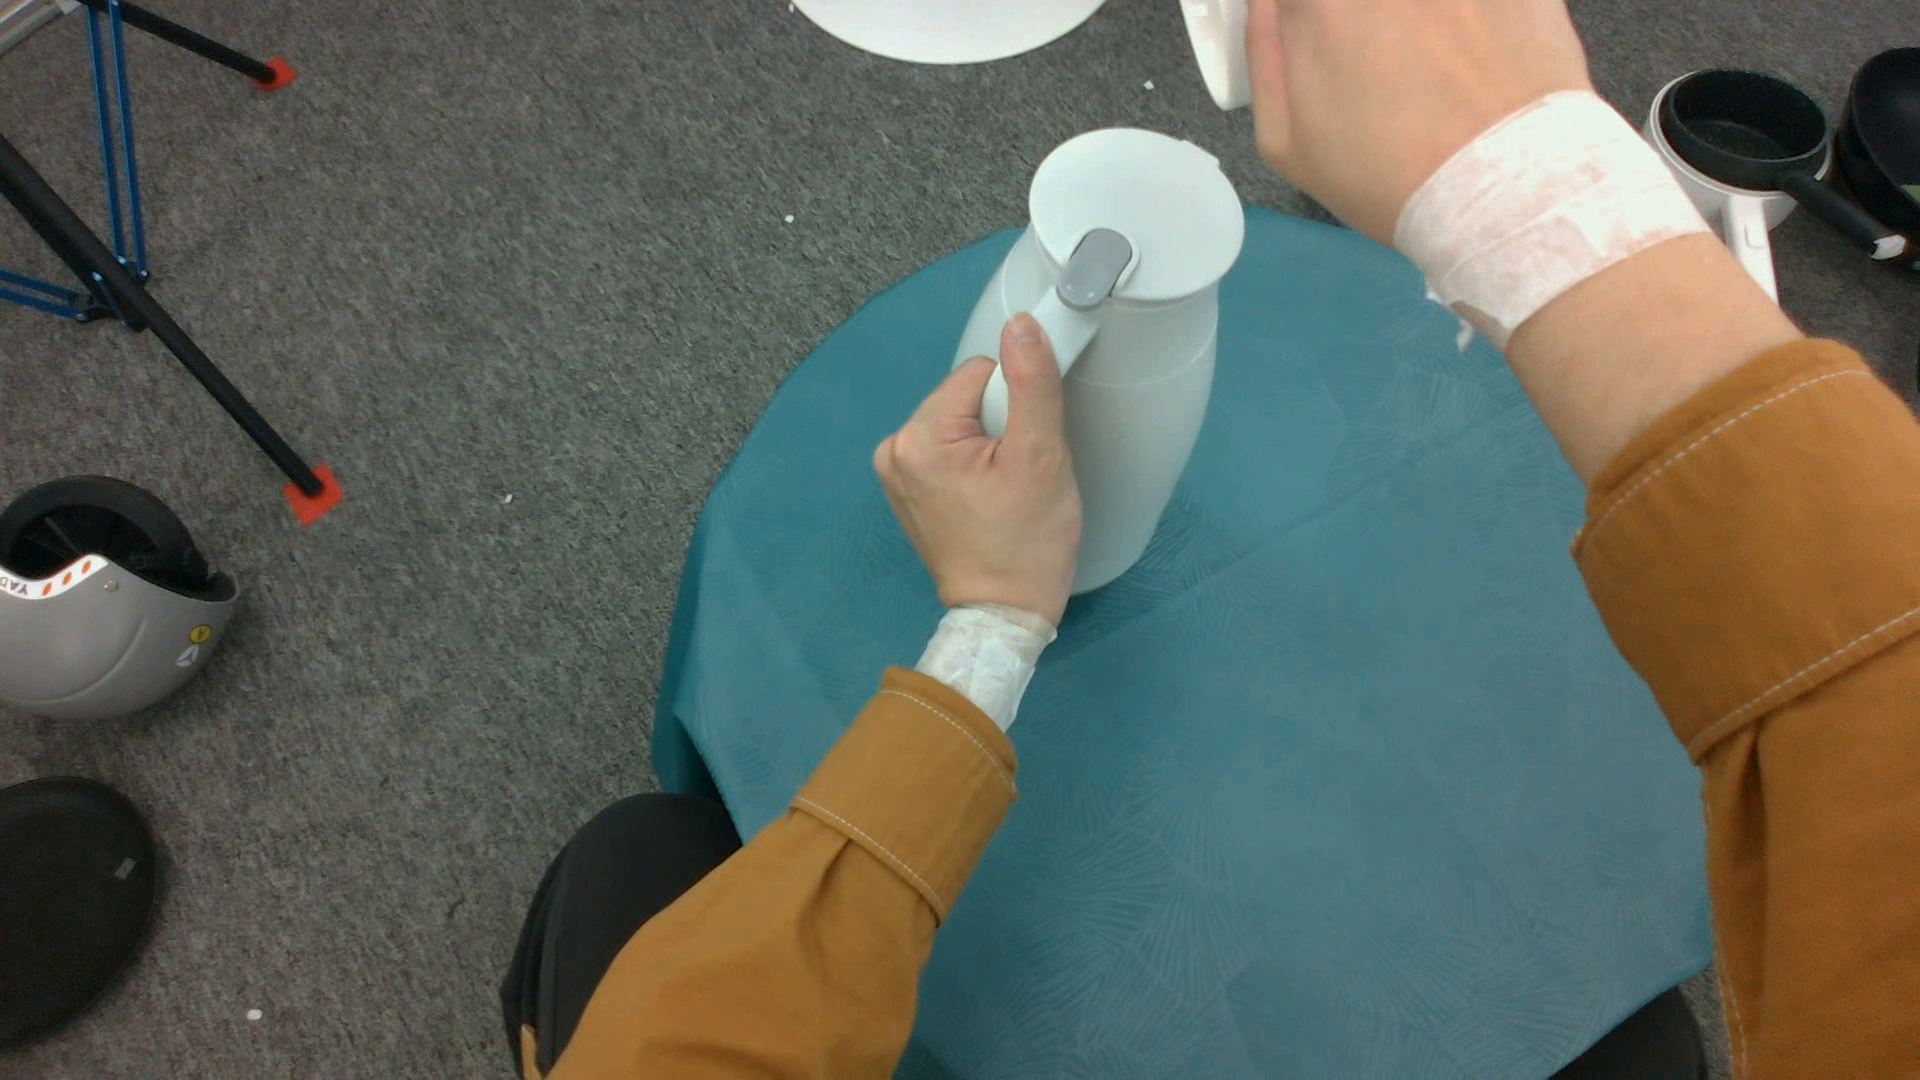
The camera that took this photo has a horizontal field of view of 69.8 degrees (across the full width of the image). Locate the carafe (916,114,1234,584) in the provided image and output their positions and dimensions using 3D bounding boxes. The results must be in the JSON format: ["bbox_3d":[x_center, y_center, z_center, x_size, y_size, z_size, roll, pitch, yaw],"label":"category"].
[{"bbox_3d":[0.047,-0.076,0.668,0.132,0.247,0.168,32,63,9],"label":"carafe"}]

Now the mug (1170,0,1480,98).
[{"bbox_3d":[0.128,-0.208,0.474,0.102,0.084,0.118,-19,27,6],"label":"mug"}]
